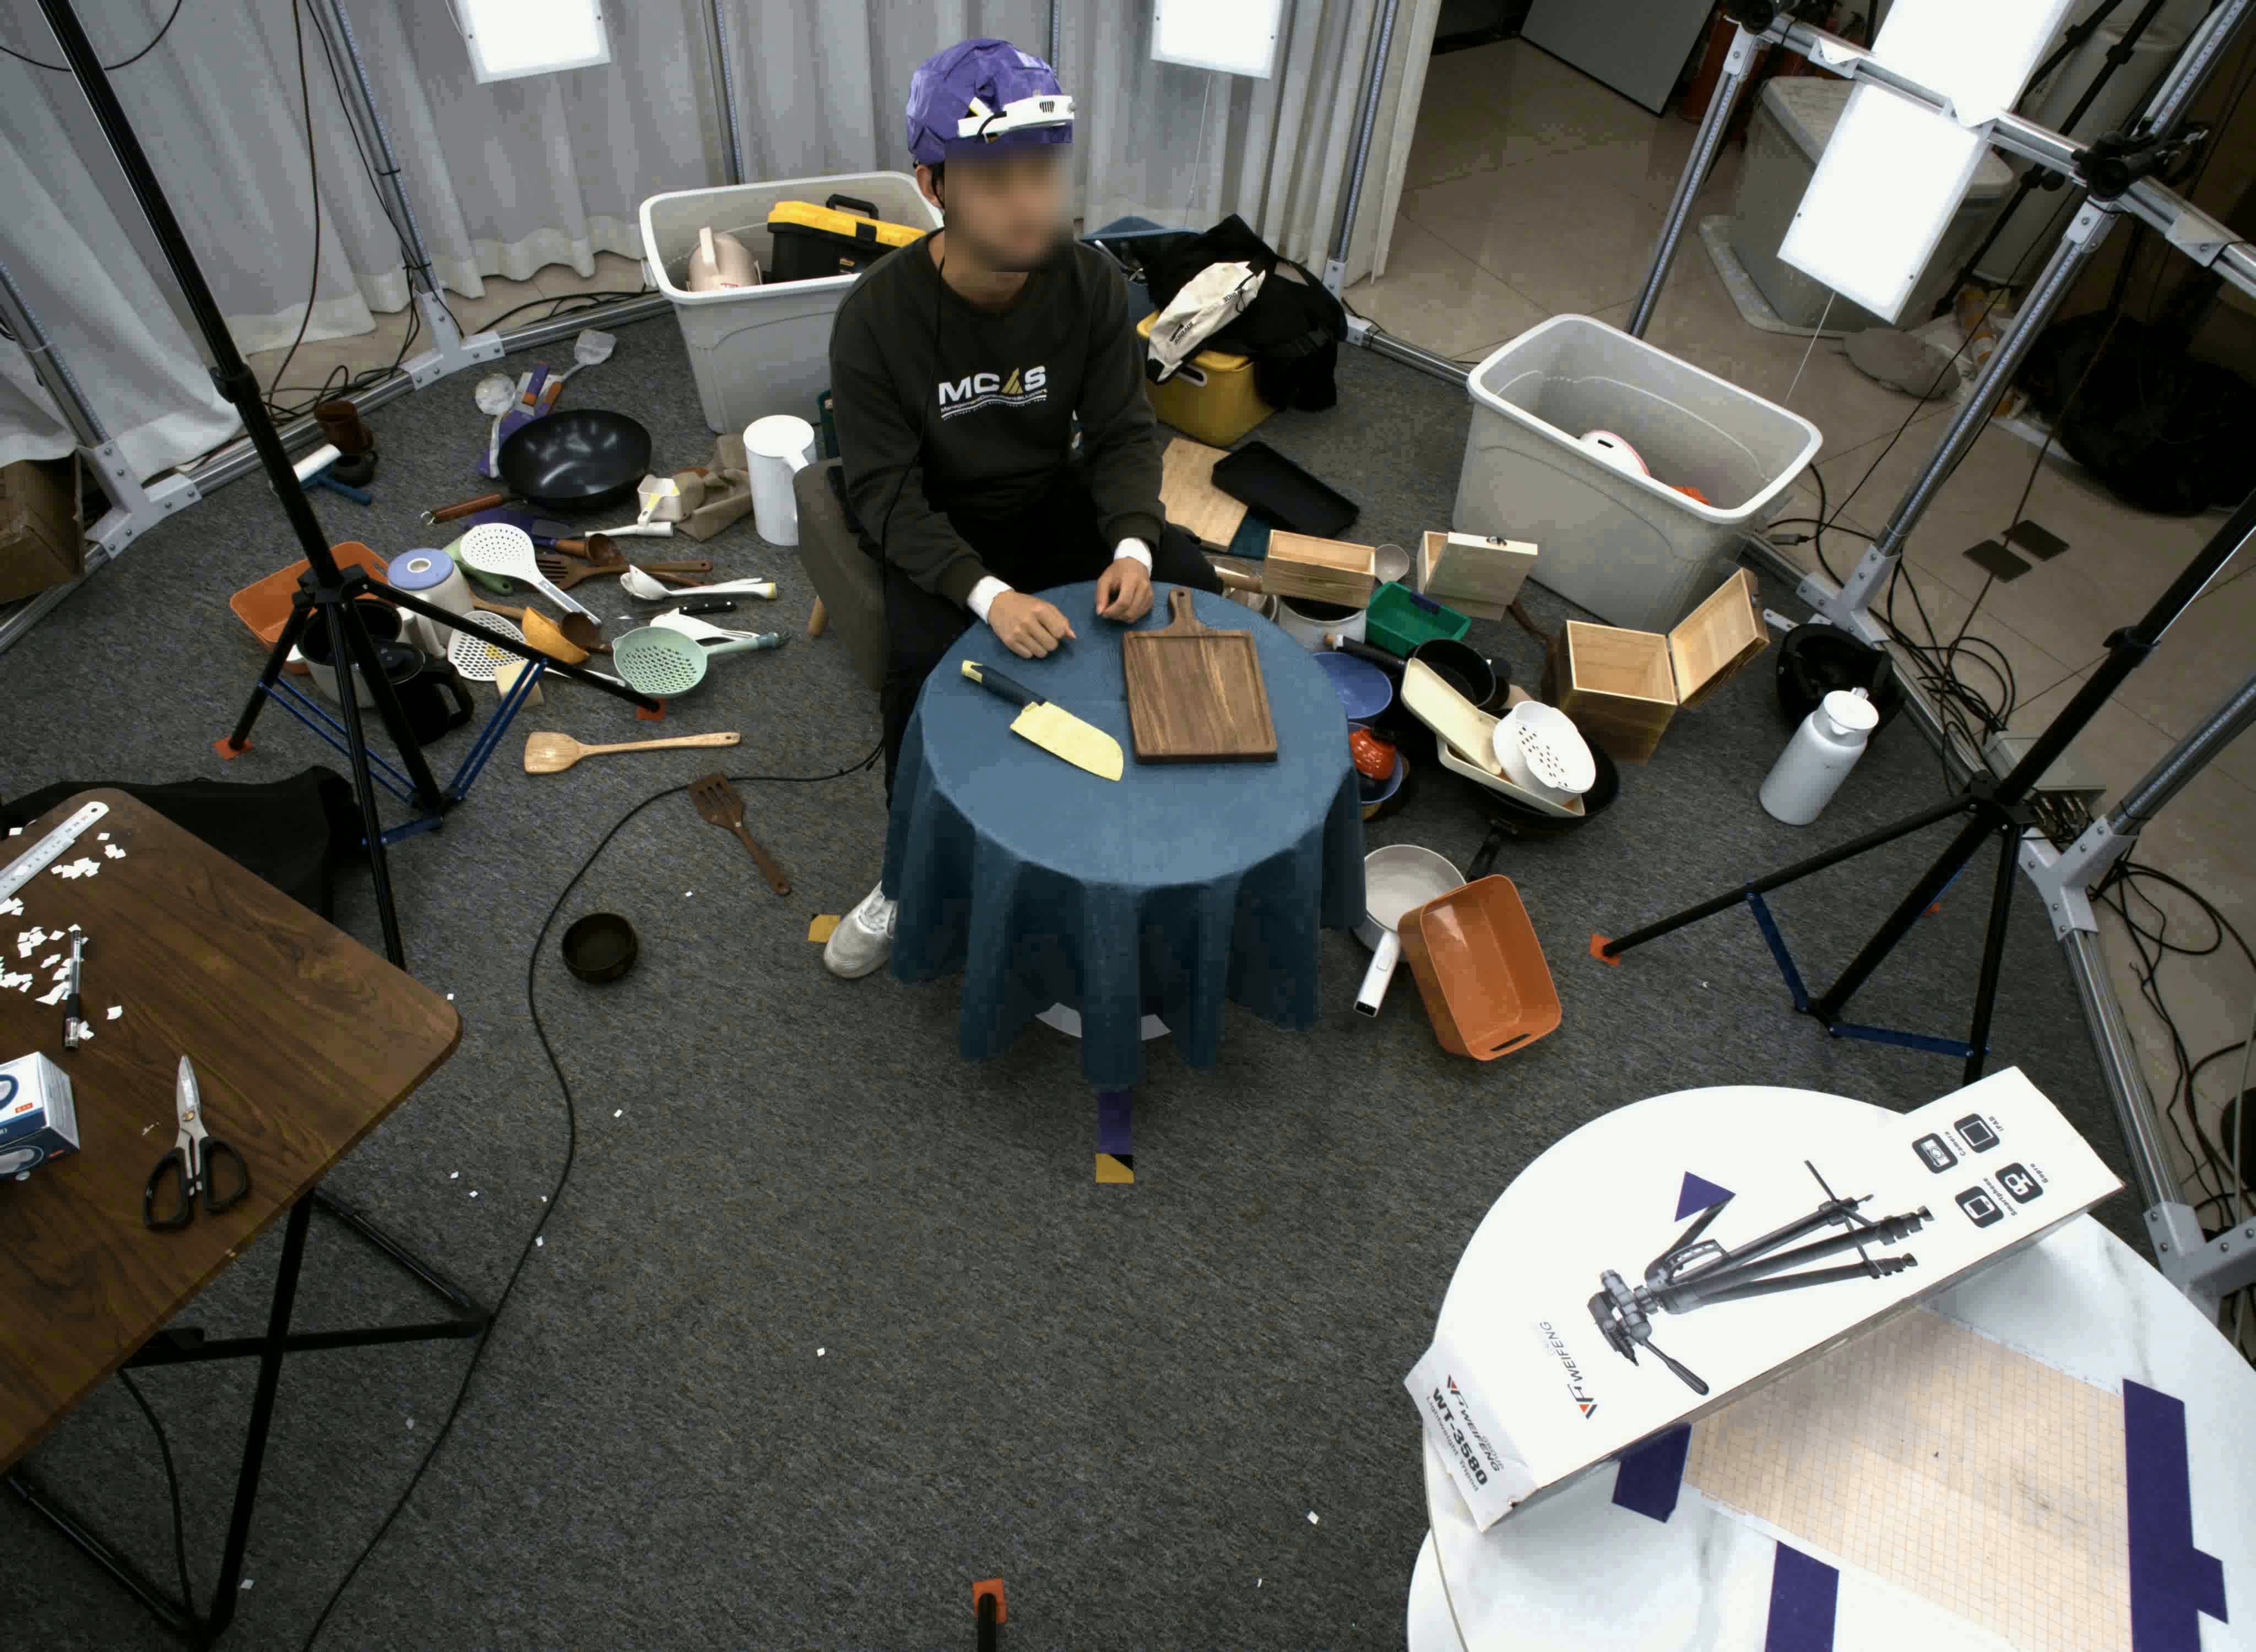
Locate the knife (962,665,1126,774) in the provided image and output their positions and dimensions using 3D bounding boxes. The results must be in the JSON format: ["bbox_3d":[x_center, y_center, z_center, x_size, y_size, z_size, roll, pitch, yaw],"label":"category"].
[{"bbox_3d":[-0.123,-0.147,1.777,0.292,0.026,0.082,31,52,20],"label":"knife"}]

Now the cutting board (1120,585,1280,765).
[{"bbox_3d":[0.094,-0.227,1.856,0.201,0.022,0.361,-2,49,-6],"label":"cutting board"}]
